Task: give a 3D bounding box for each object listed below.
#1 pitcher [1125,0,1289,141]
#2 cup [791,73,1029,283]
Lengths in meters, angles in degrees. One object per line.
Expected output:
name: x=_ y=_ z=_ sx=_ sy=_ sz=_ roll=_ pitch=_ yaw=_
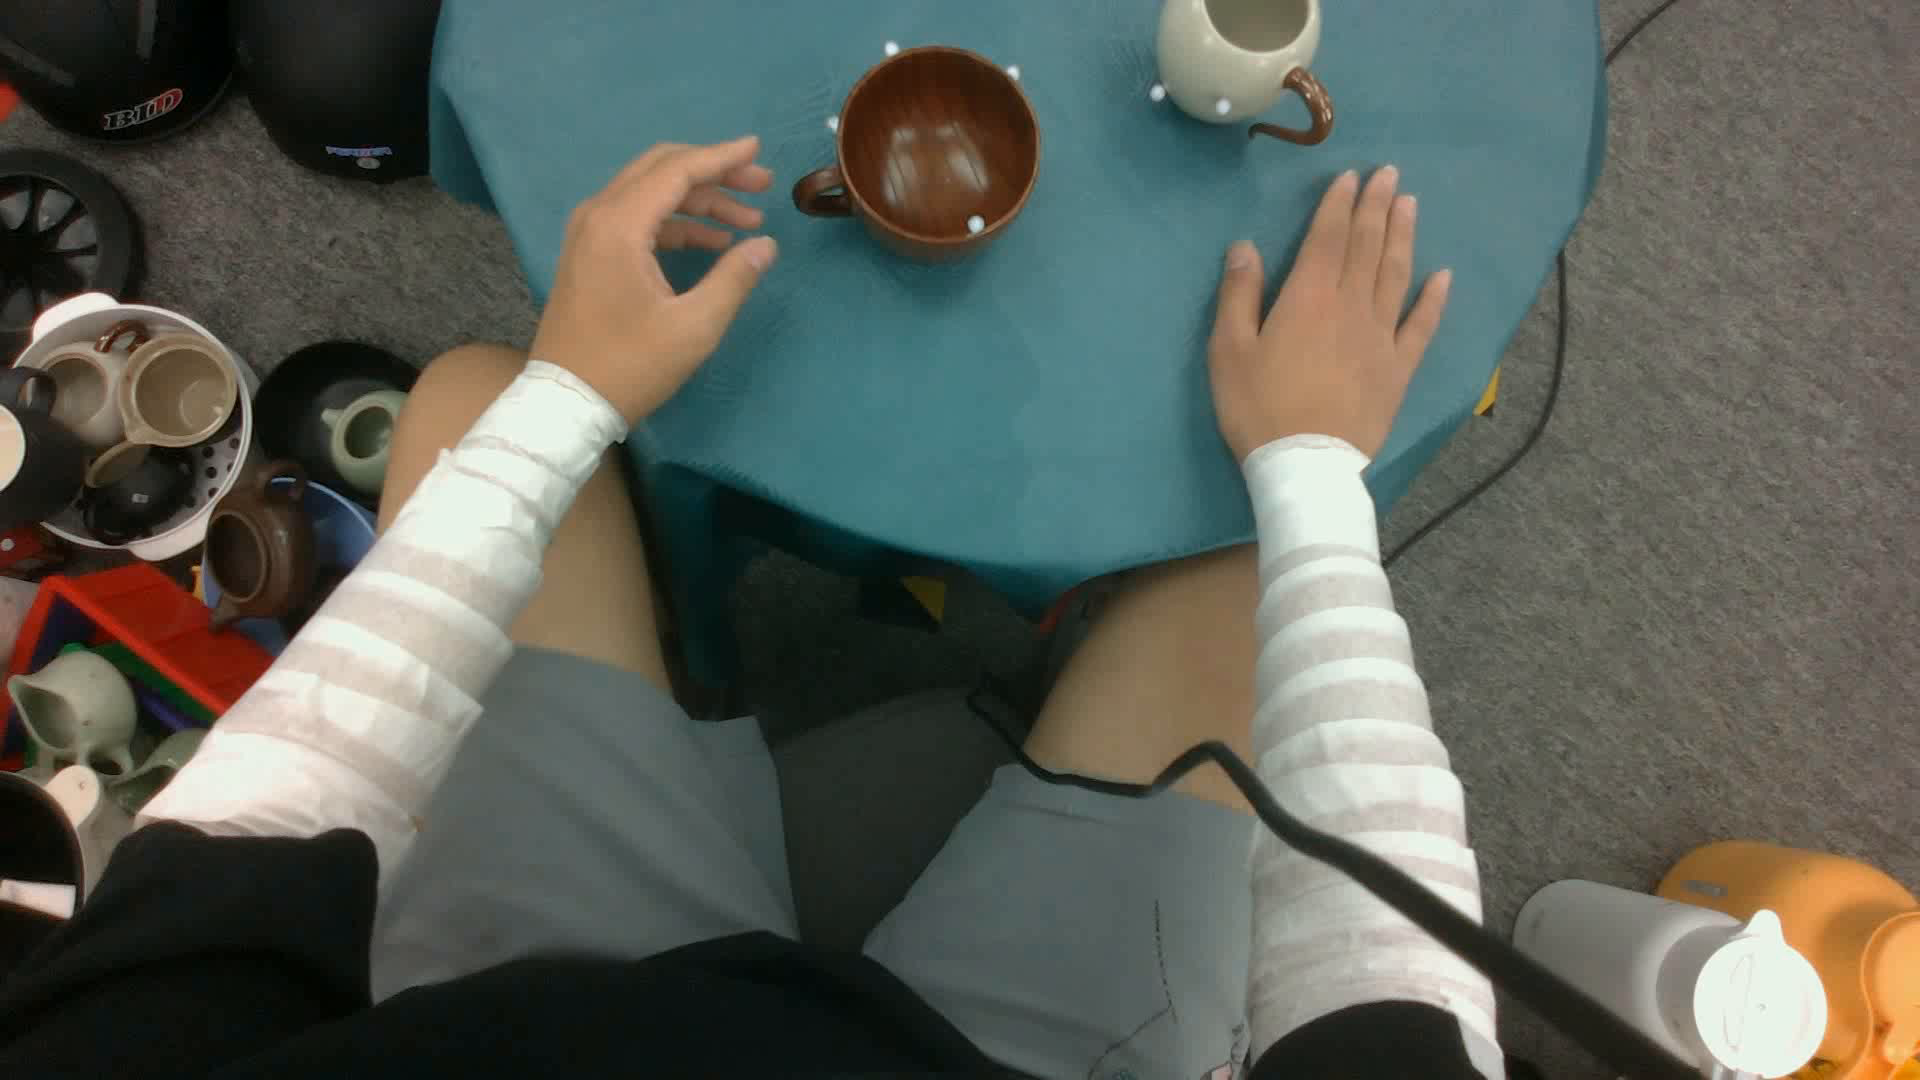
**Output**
pitcher: x=0.125 y=-0.243 z=0.690 sx=0.076 sy=0.088 sz=0.119 roll=-32 pitch=82 yaw=-2
cup: x=-0.027 y=-0.168 z=0.680 sx=0.119 sy=0.067 sz=0.096 roll=-21 pitch=87 yaw=-5
